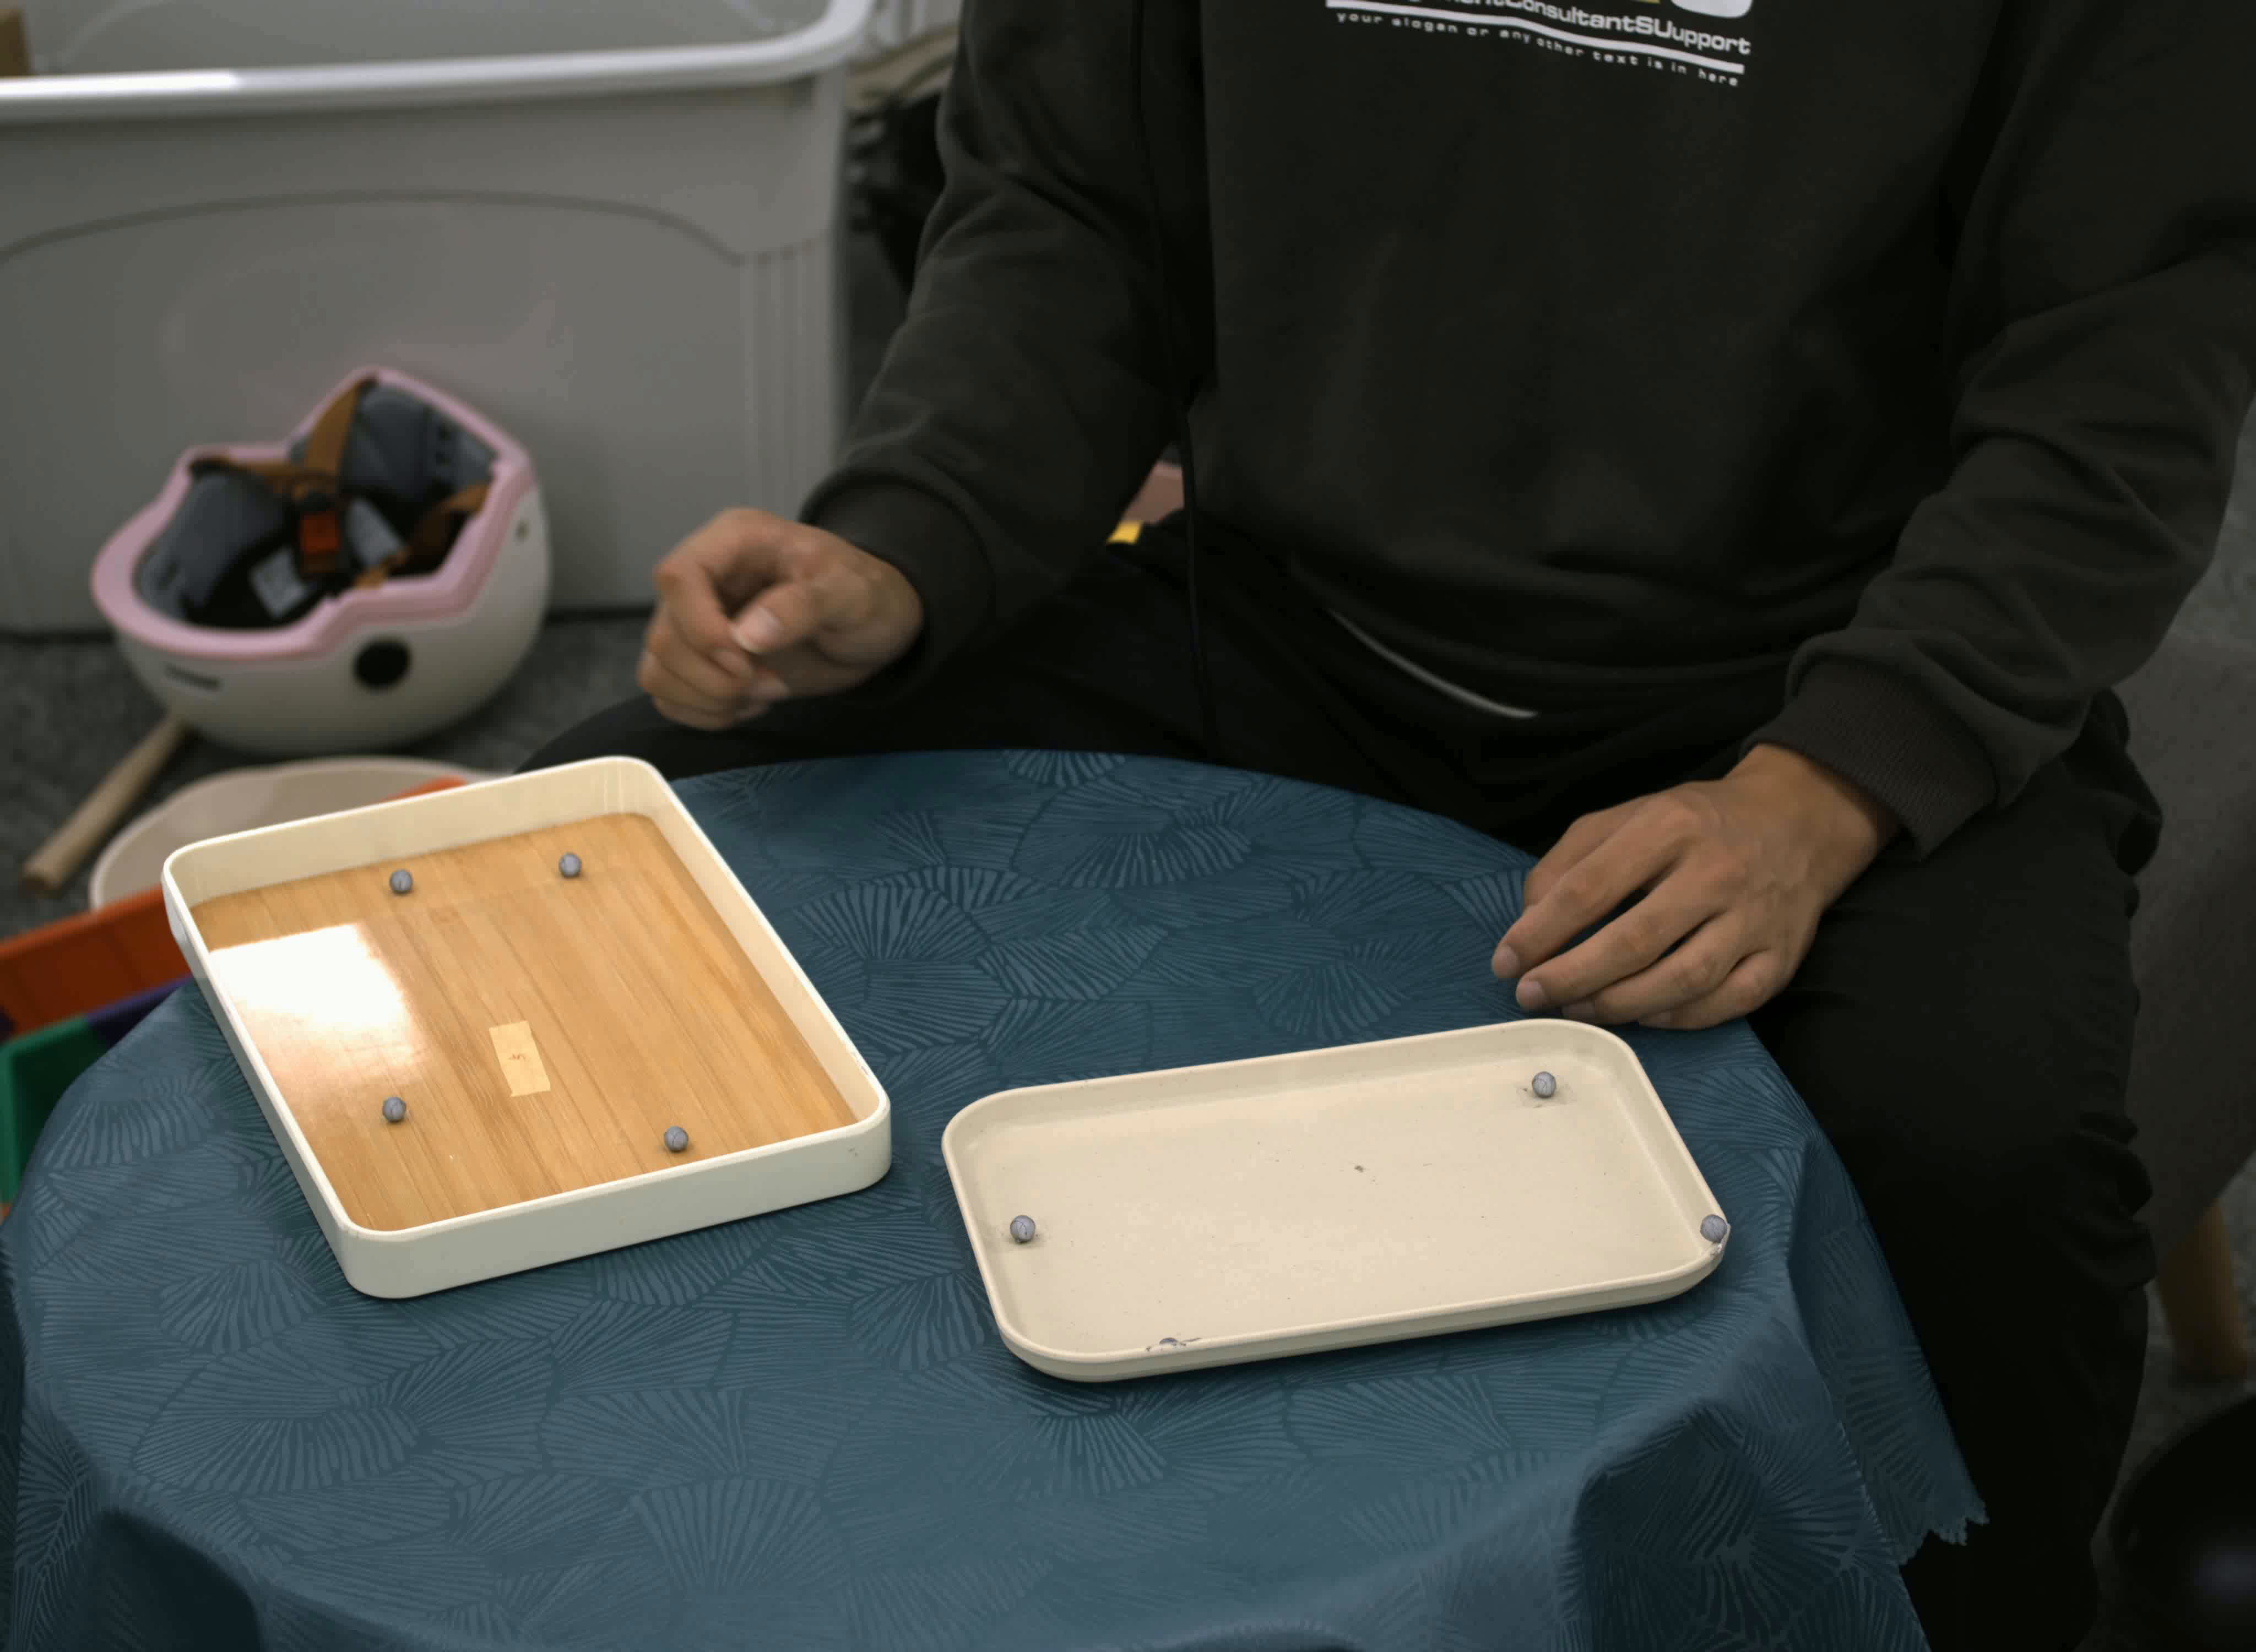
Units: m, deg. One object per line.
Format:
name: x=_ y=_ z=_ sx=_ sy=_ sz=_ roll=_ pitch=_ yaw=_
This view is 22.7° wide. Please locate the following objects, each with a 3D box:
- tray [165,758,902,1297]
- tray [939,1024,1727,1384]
tray: x=-0.212 y=0.065 z=1.963 sx=0.192 sy=0.027 sz=0.302 roll=-12 pitch=29 yaw=-18
tray: x=0.065 y=0.124 z=1.838 sx=0.239 sy=0.017 sz=0.173 roll=-7 pitch=27 yaw=-9
